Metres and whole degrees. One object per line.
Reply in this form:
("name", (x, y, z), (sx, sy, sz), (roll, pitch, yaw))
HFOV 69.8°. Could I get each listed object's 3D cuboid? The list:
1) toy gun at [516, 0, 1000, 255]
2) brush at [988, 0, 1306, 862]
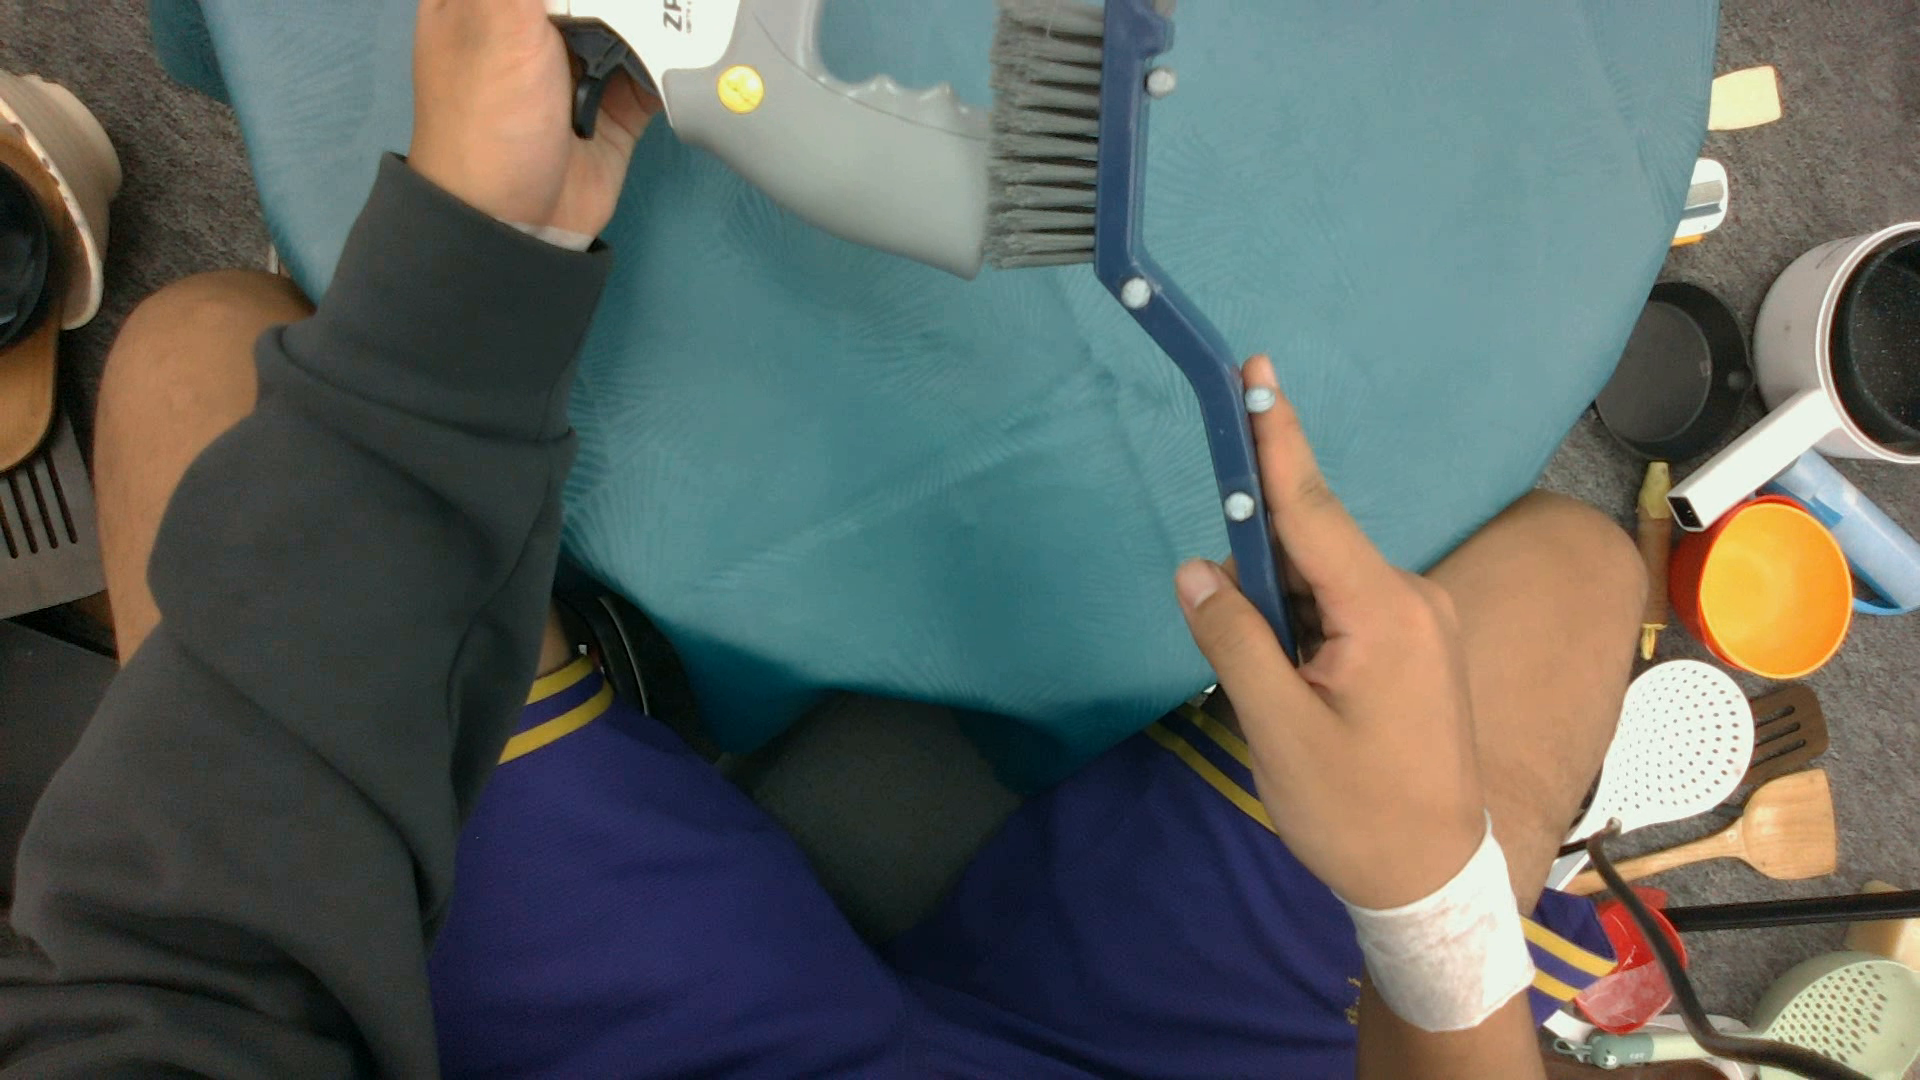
("toy gun", (-0.061, -0.187, 0.398), (0.141, 0.039, 0.209), (-2, 99, -1))
("brush", (0.080, -0.036, 0.401), (0.095, 0.033, 0.273), (-21, 104, 16))
